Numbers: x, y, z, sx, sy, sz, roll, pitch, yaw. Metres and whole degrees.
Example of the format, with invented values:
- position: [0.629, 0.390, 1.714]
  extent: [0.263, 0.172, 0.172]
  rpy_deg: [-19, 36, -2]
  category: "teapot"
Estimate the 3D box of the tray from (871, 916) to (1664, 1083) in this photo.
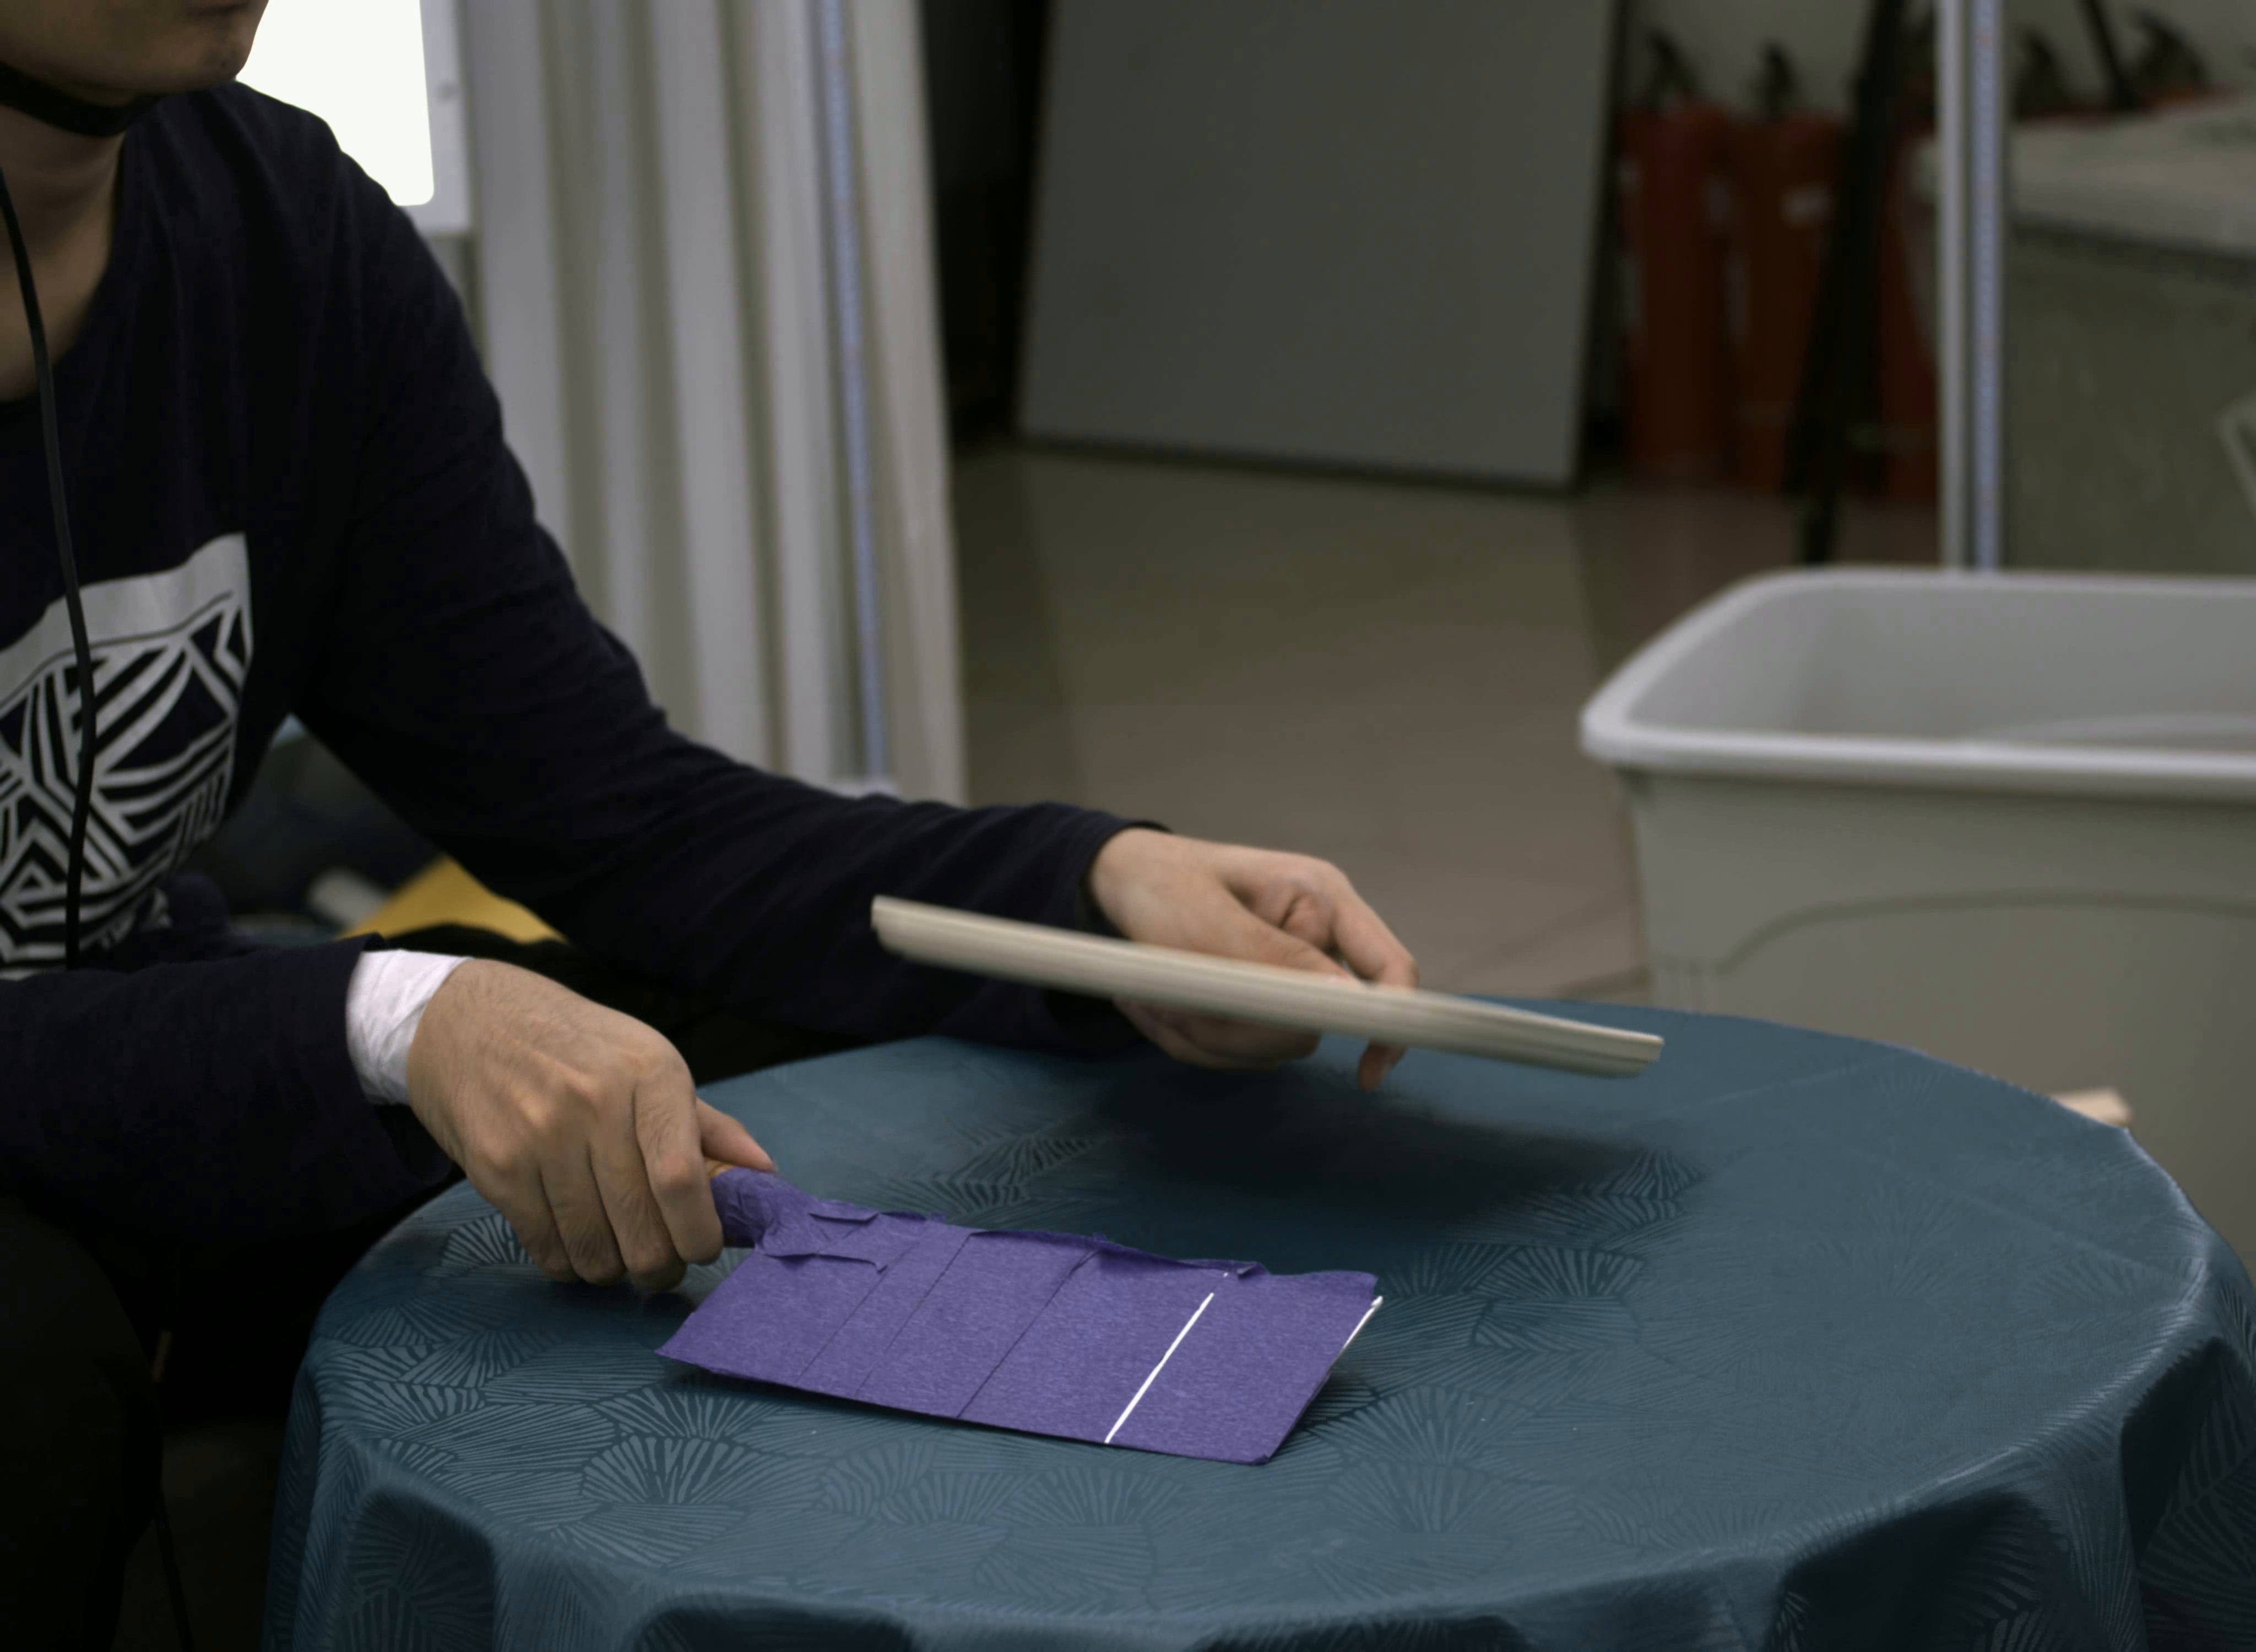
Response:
- position: [0.045, 0.058, 1.774]
  extent: [0.241, 0.018, 0.168]
  rpy_deg: [8, -1, 34]
  category: "tray"

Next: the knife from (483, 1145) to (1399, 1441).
- position: [-0.076, 0.139, 1.625]
  extent: [0.316, 0.032, 0.103]
  rpy_deg: [4, 30, 30]
  category: "knife"
